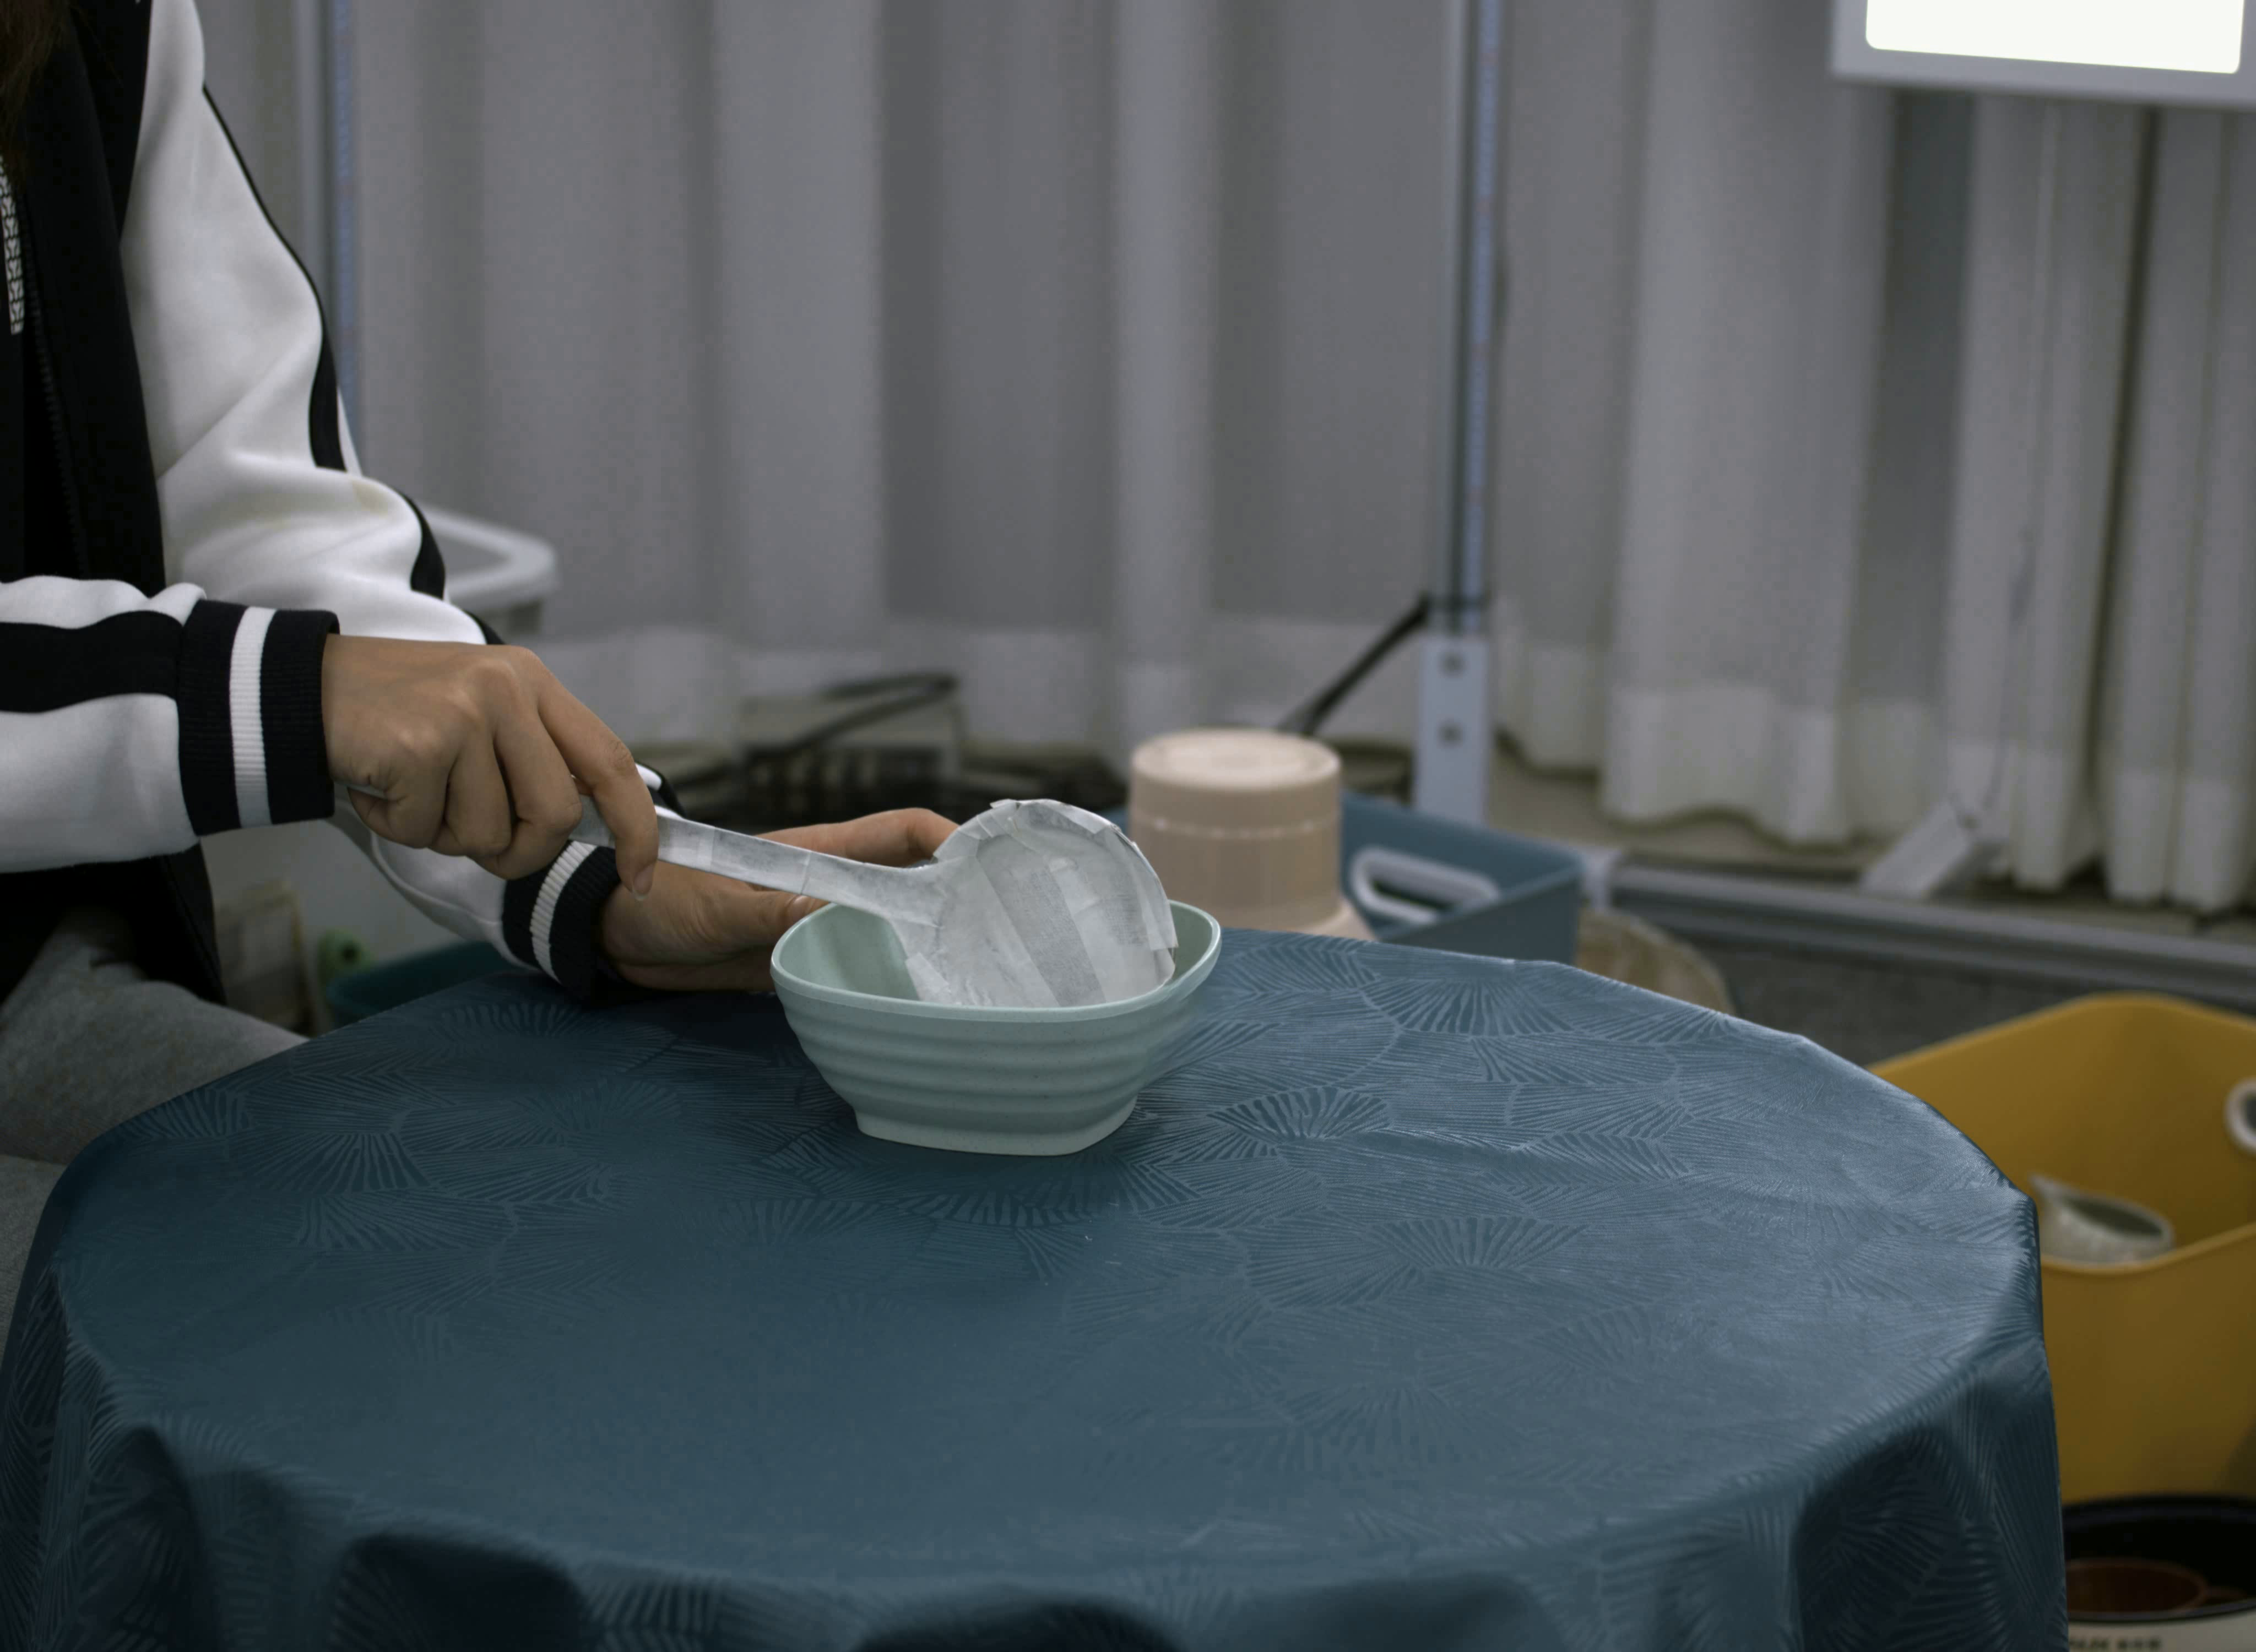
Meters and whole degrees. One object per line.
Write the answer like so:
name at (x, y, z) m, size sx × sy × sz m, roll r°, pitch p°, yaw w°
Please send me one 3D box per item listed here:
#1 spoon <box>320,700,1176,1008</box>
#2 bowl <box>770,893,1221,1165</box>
spoon at (-0.119, 0.006, 1.662) m, size 0.278 × 0.101 × 0.059 m, roll 18°, pitch 6°, yaw -16°
bowl at (-0.042, 0.066, 1.687) m, size 0.151 × 0.059 × 0.150 m, roll 1°, pitch 16°, yaw 0°
